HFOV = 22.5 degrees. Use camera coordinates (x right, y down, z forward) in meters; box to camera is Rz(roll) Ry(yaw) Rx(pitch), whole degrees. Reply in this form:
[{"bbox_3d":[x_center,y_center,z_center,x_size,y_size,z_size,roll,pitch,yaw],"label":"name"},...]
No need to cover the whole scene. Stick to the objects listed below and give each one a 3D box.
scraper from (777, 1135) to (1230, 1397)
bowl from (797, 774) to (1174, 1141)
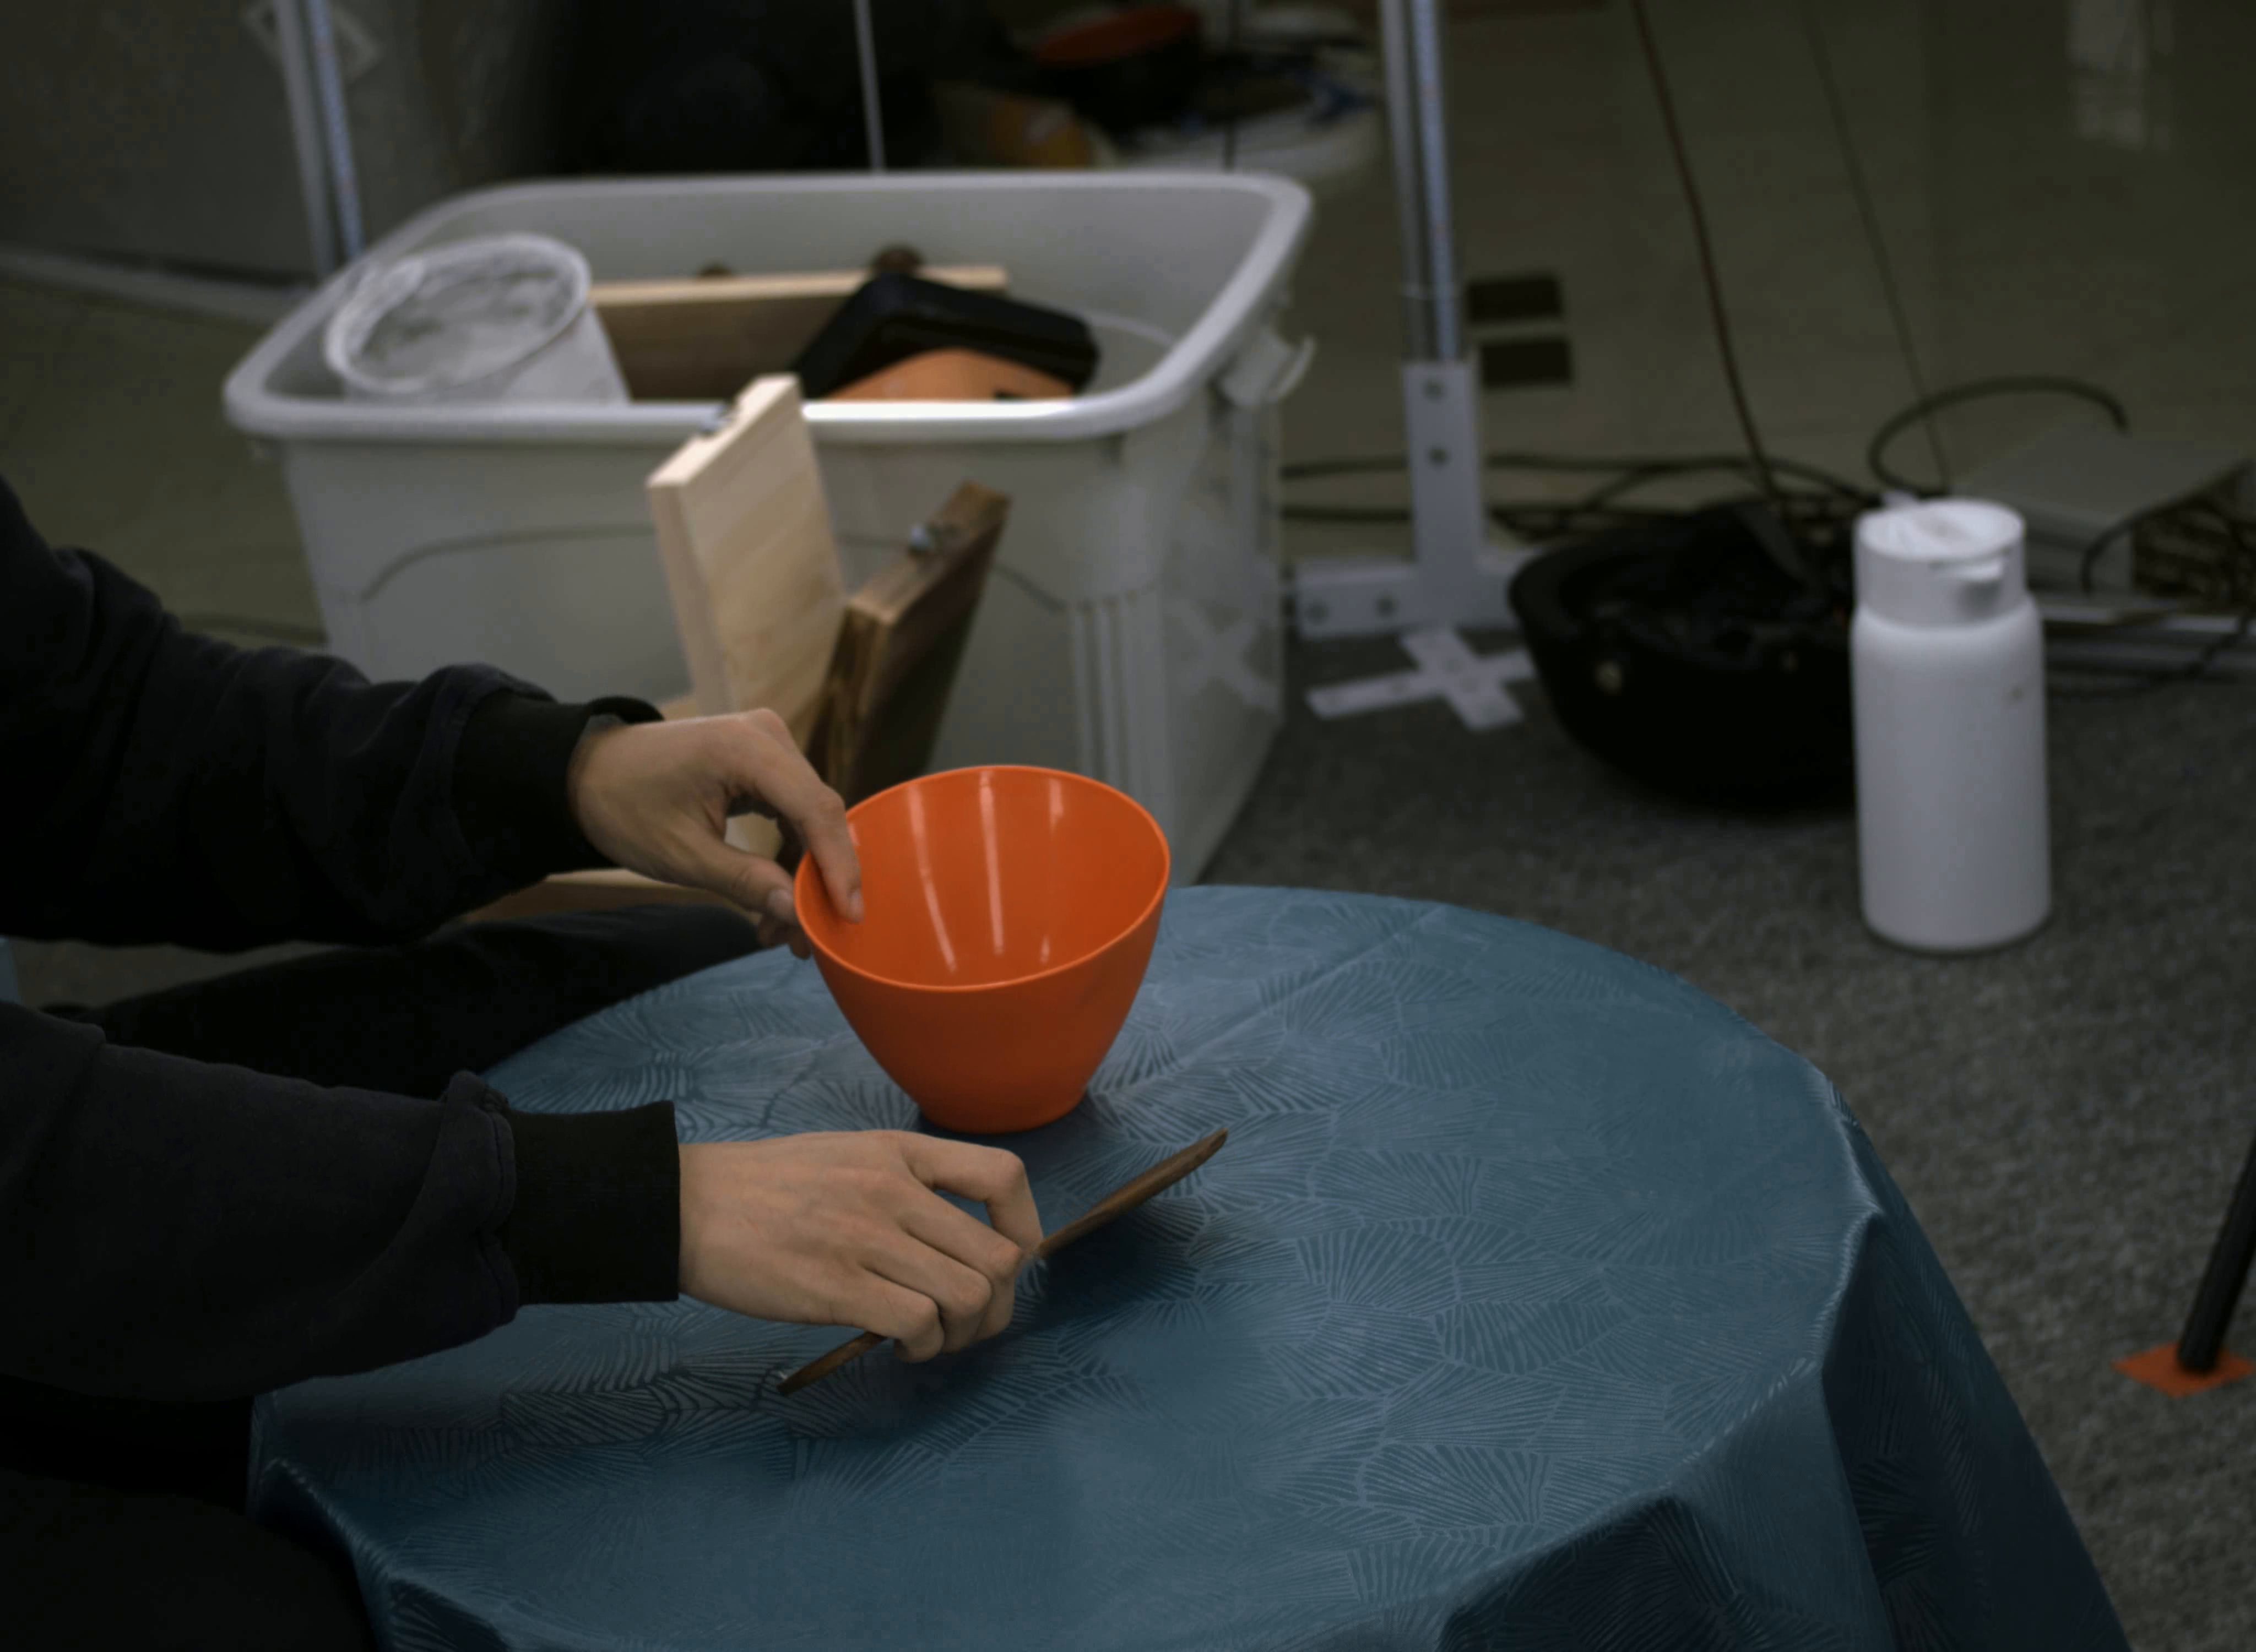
[{"bbox_3d":[-0.047,0.162,2.057,0.209,0.011,0.076,-26,-2,-41],"label":"scraper"},{"bbox_3d":[-0.052,0.057,2.219,0.148,0.106,0.146,-4,26,2],"label":"bowl"}]
